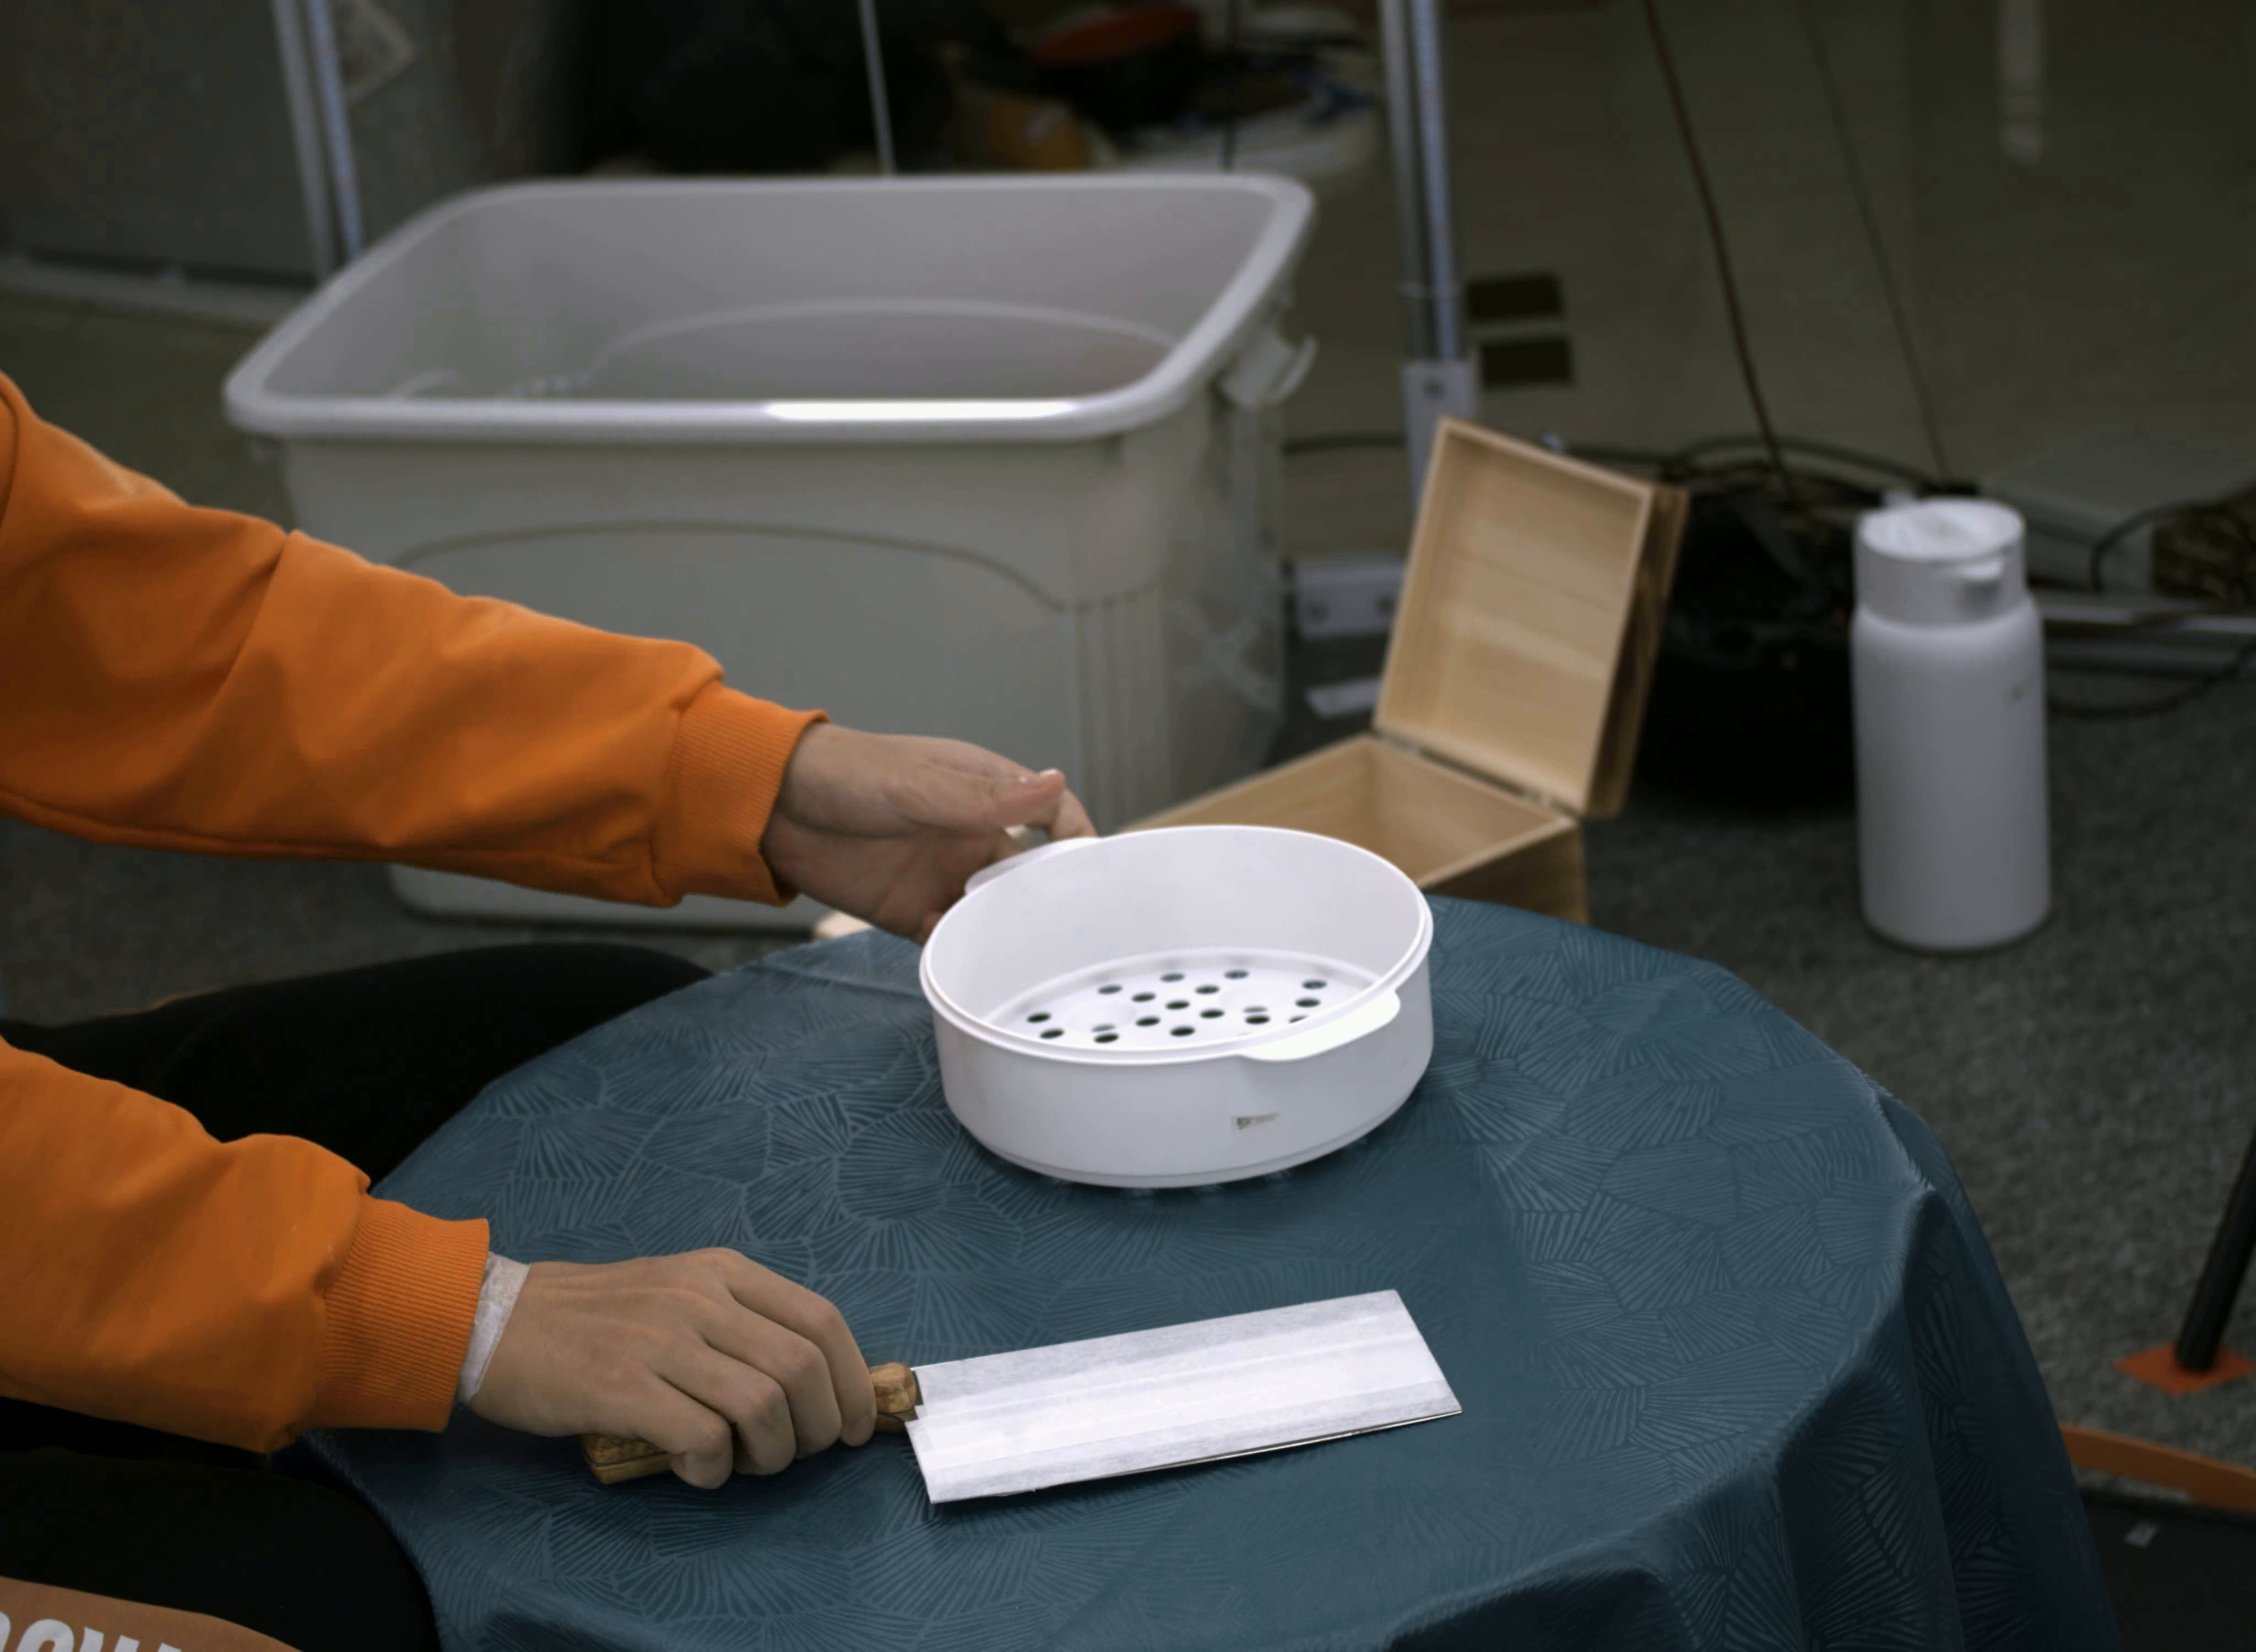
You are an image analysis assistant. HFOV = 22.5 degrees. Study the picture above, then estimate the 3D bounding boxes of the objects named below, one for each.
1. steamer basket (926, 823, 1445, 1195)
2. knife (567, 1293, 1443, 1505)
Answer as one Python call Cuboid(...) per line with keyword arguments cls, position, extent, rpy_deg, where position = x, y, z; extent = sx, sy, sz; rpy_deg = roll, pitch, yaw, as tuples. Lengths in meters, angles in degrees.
Cuboid(cls="steamer basket", position=(0.025, 0.072, 2.201), extent=(0.200, 0.070, 0.228), rpy_deg=(-22, 31, -28))
Cuboid(cls="knife", position=(-0.041, 0.207, 1.992), extent=(0.305, 0.021, 0.091), rpy_deg=(-8, 26, -10))
